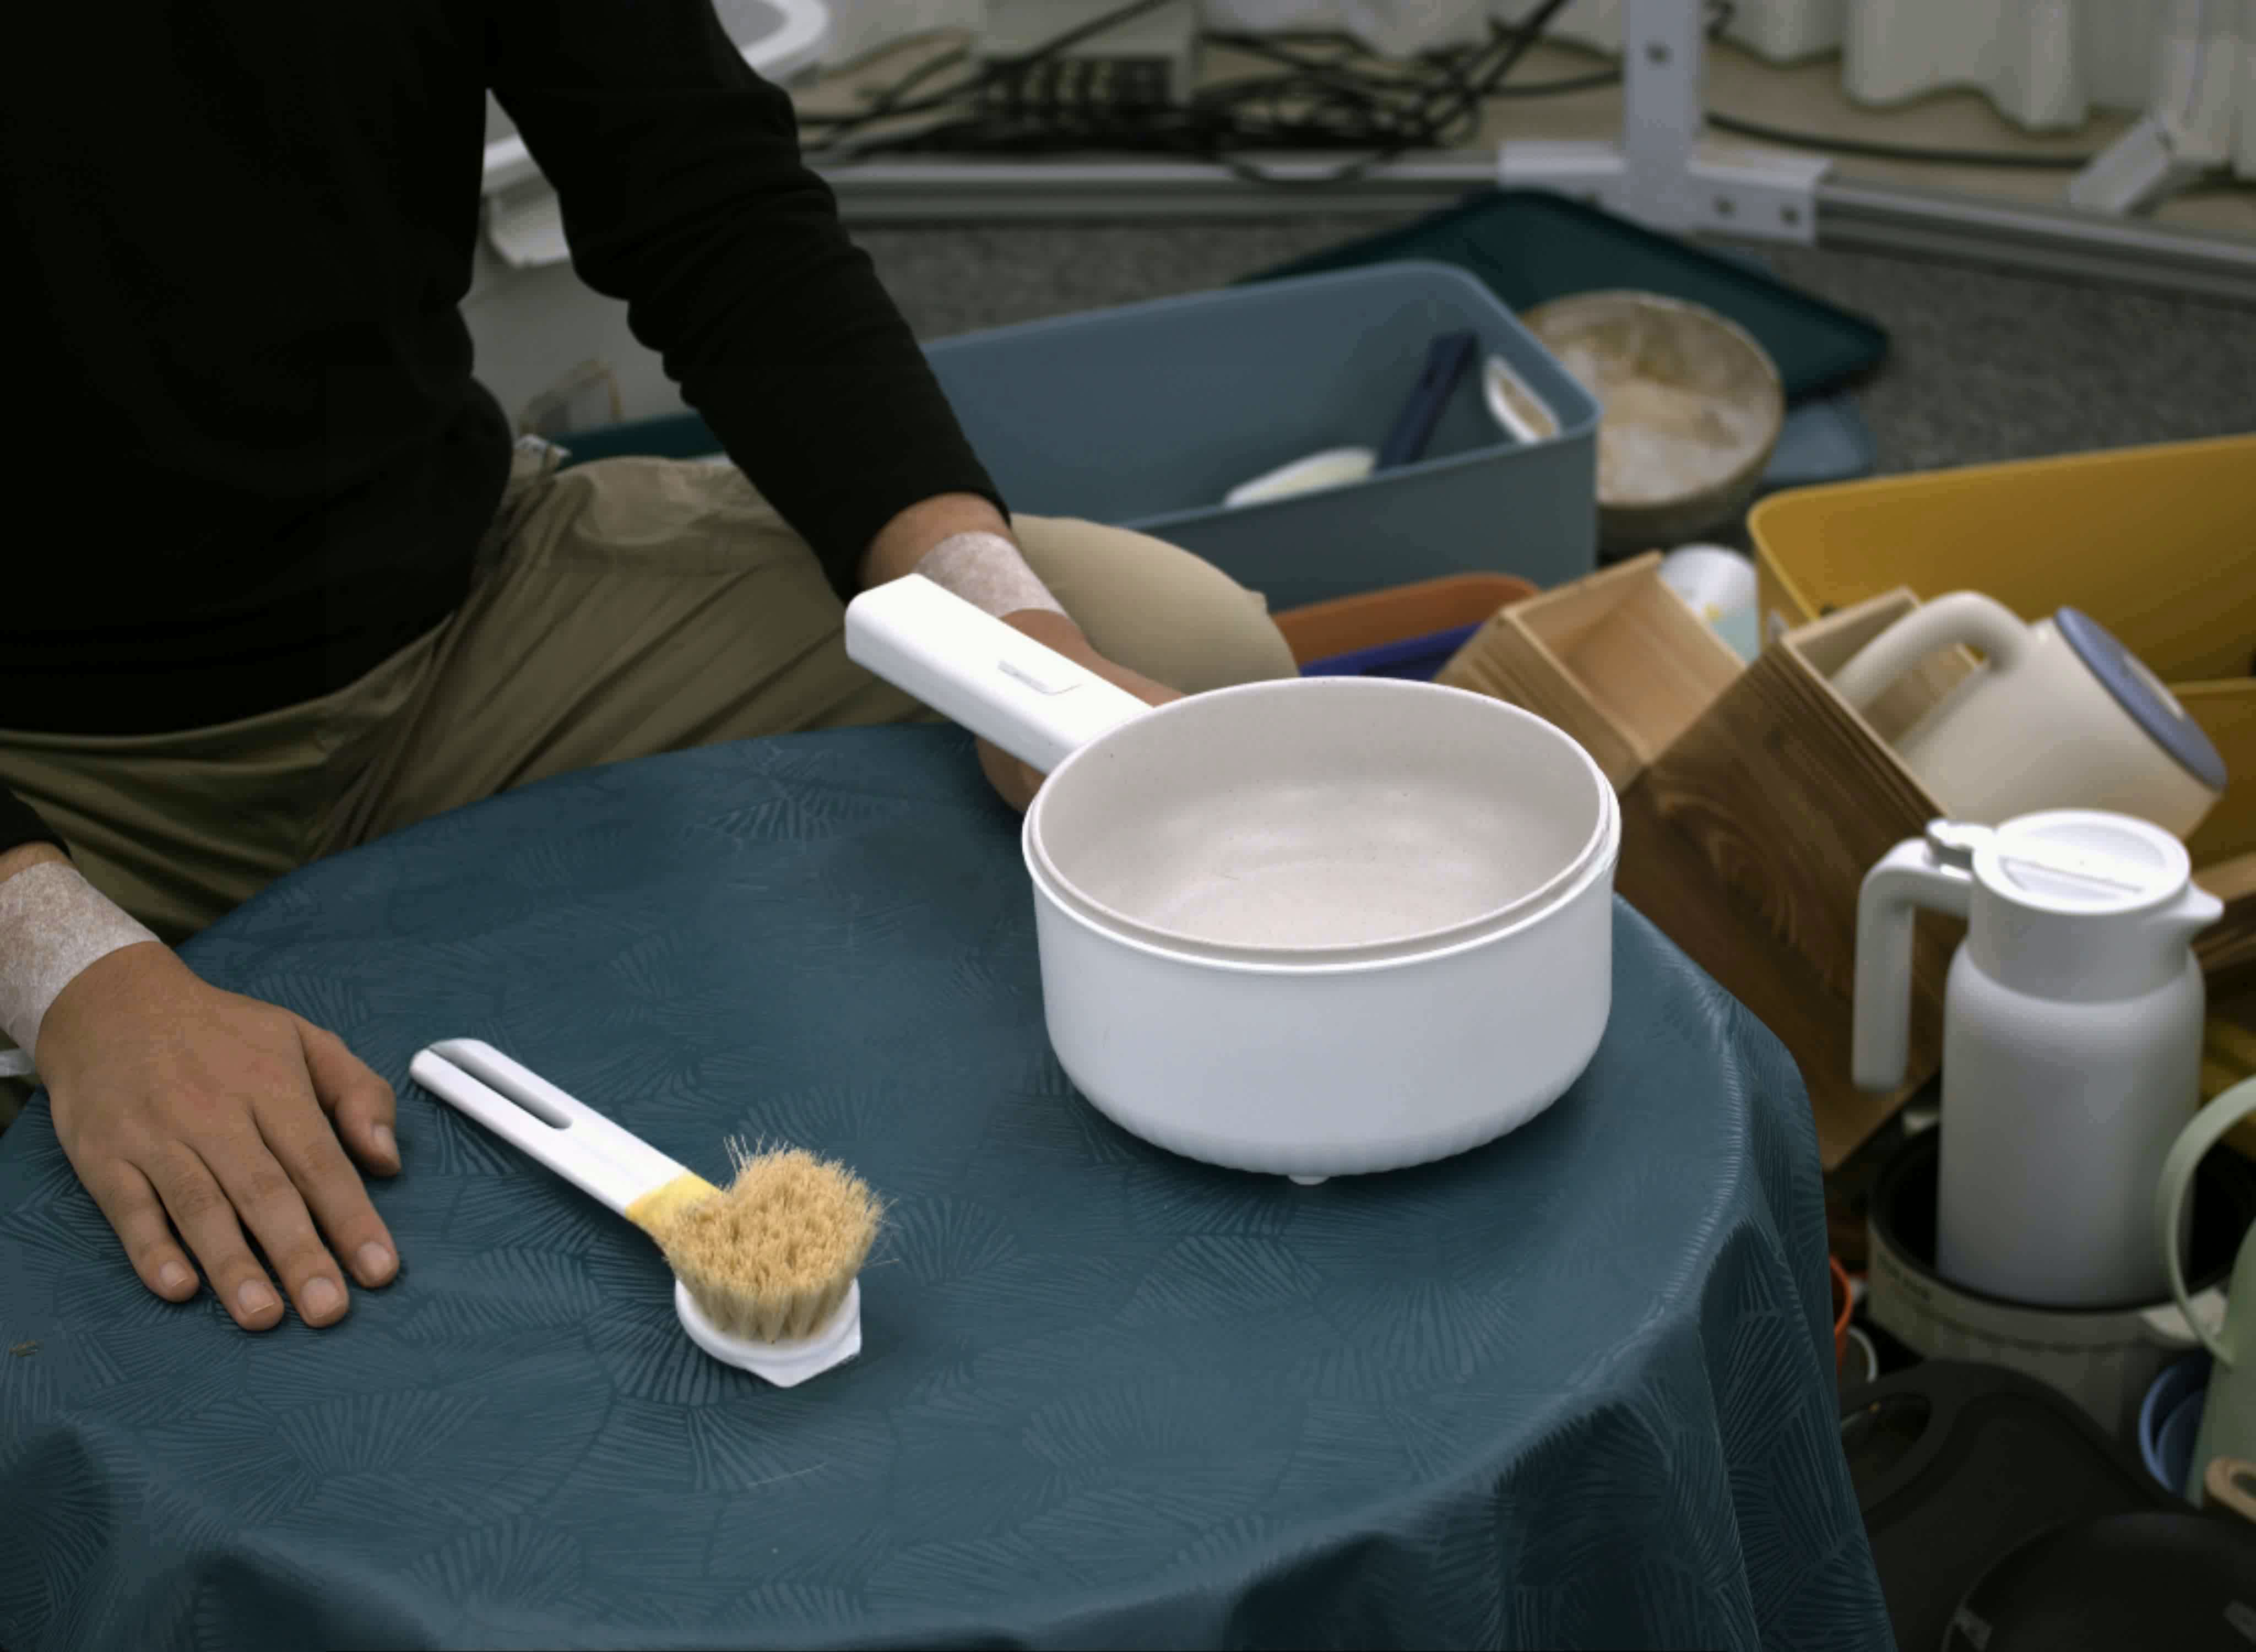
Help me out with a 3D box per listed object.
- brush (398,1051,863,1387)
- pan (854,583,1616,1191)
[{"bbox_3d":[-0.174,0.107,1.850,0.069,0.055,0.267,-15,28,-30],"label":"brush"},{"bbox_3d":[0.020,0.014,1.965,0.203,0.101,0.355,-23,32,-31],"label":"pan"}]
